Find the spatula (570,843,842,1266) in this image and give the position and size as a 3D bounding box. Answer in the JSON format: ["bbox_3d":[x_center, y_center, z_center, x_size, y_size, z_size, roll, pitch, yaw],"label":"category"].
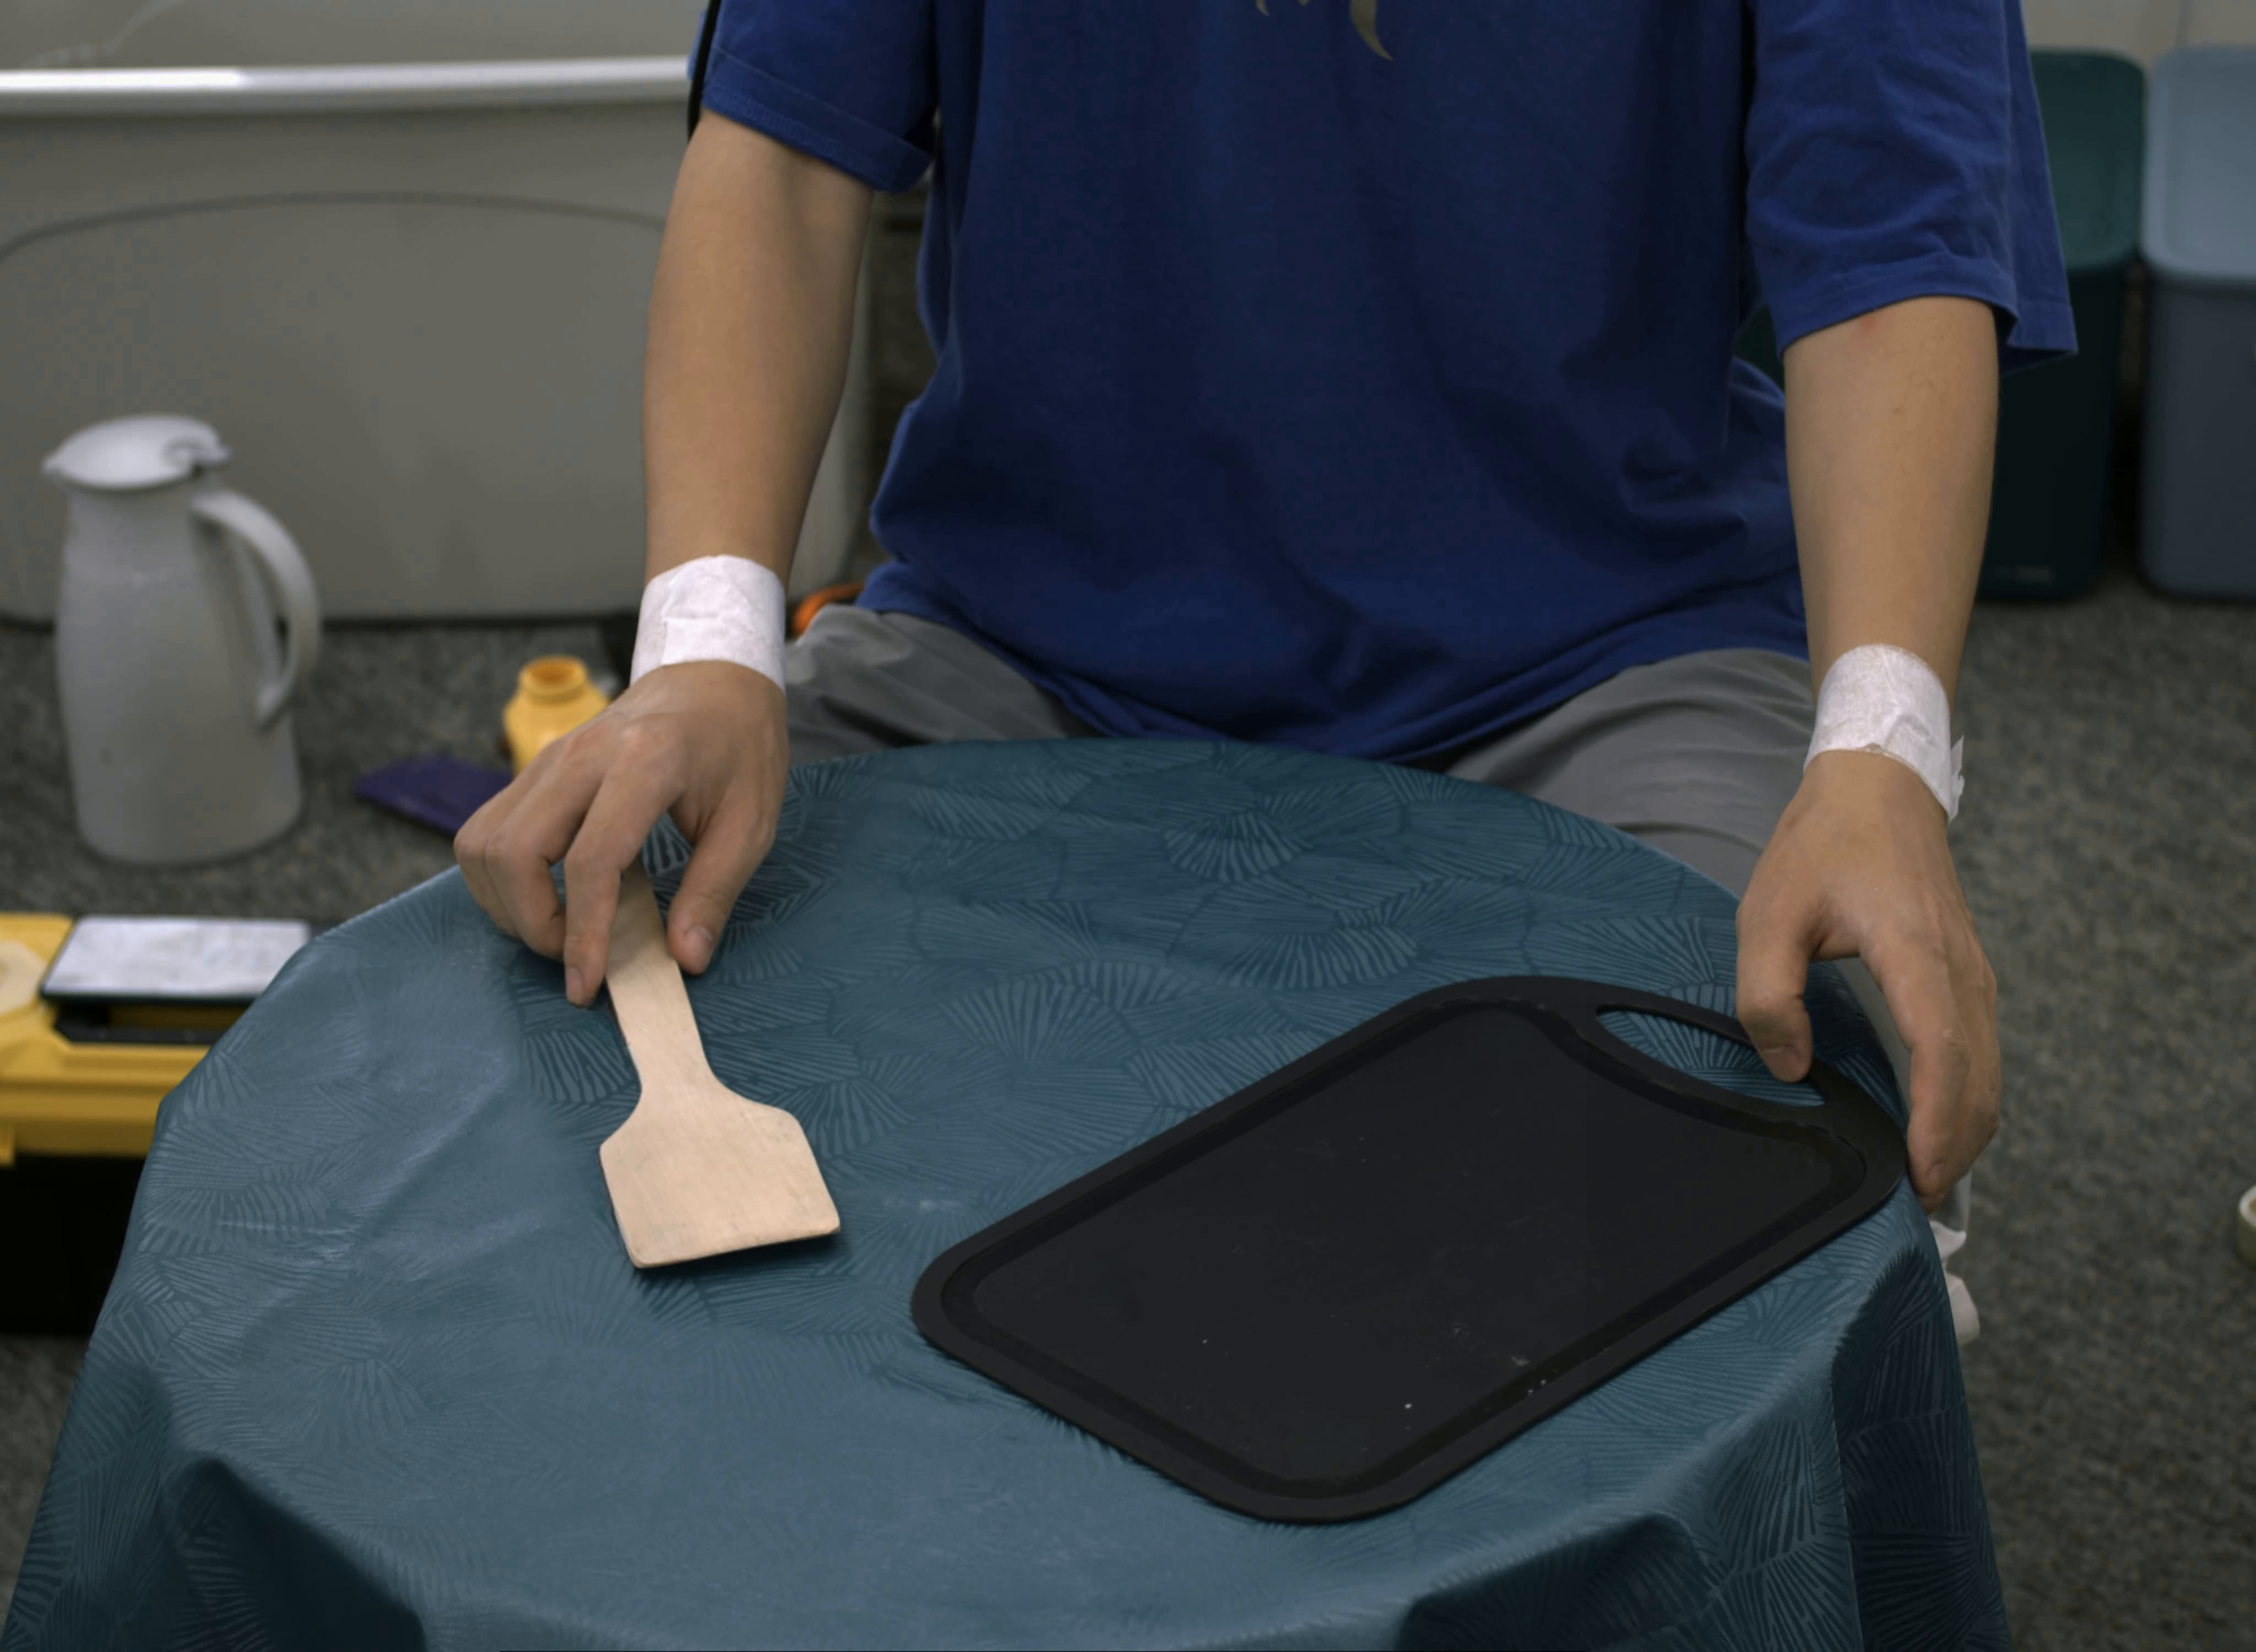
[{"bbox_3d":[-0.161,0.075,1.957,0.072,0.010,0.296,-10,28,-10],"label":"spatula"}]

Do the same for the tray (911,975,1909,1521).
[{"bbox_3d":[0.099,0.126,1.834,0.329,0.009,0.211,-25,35,-37],"label":"tray"}]
